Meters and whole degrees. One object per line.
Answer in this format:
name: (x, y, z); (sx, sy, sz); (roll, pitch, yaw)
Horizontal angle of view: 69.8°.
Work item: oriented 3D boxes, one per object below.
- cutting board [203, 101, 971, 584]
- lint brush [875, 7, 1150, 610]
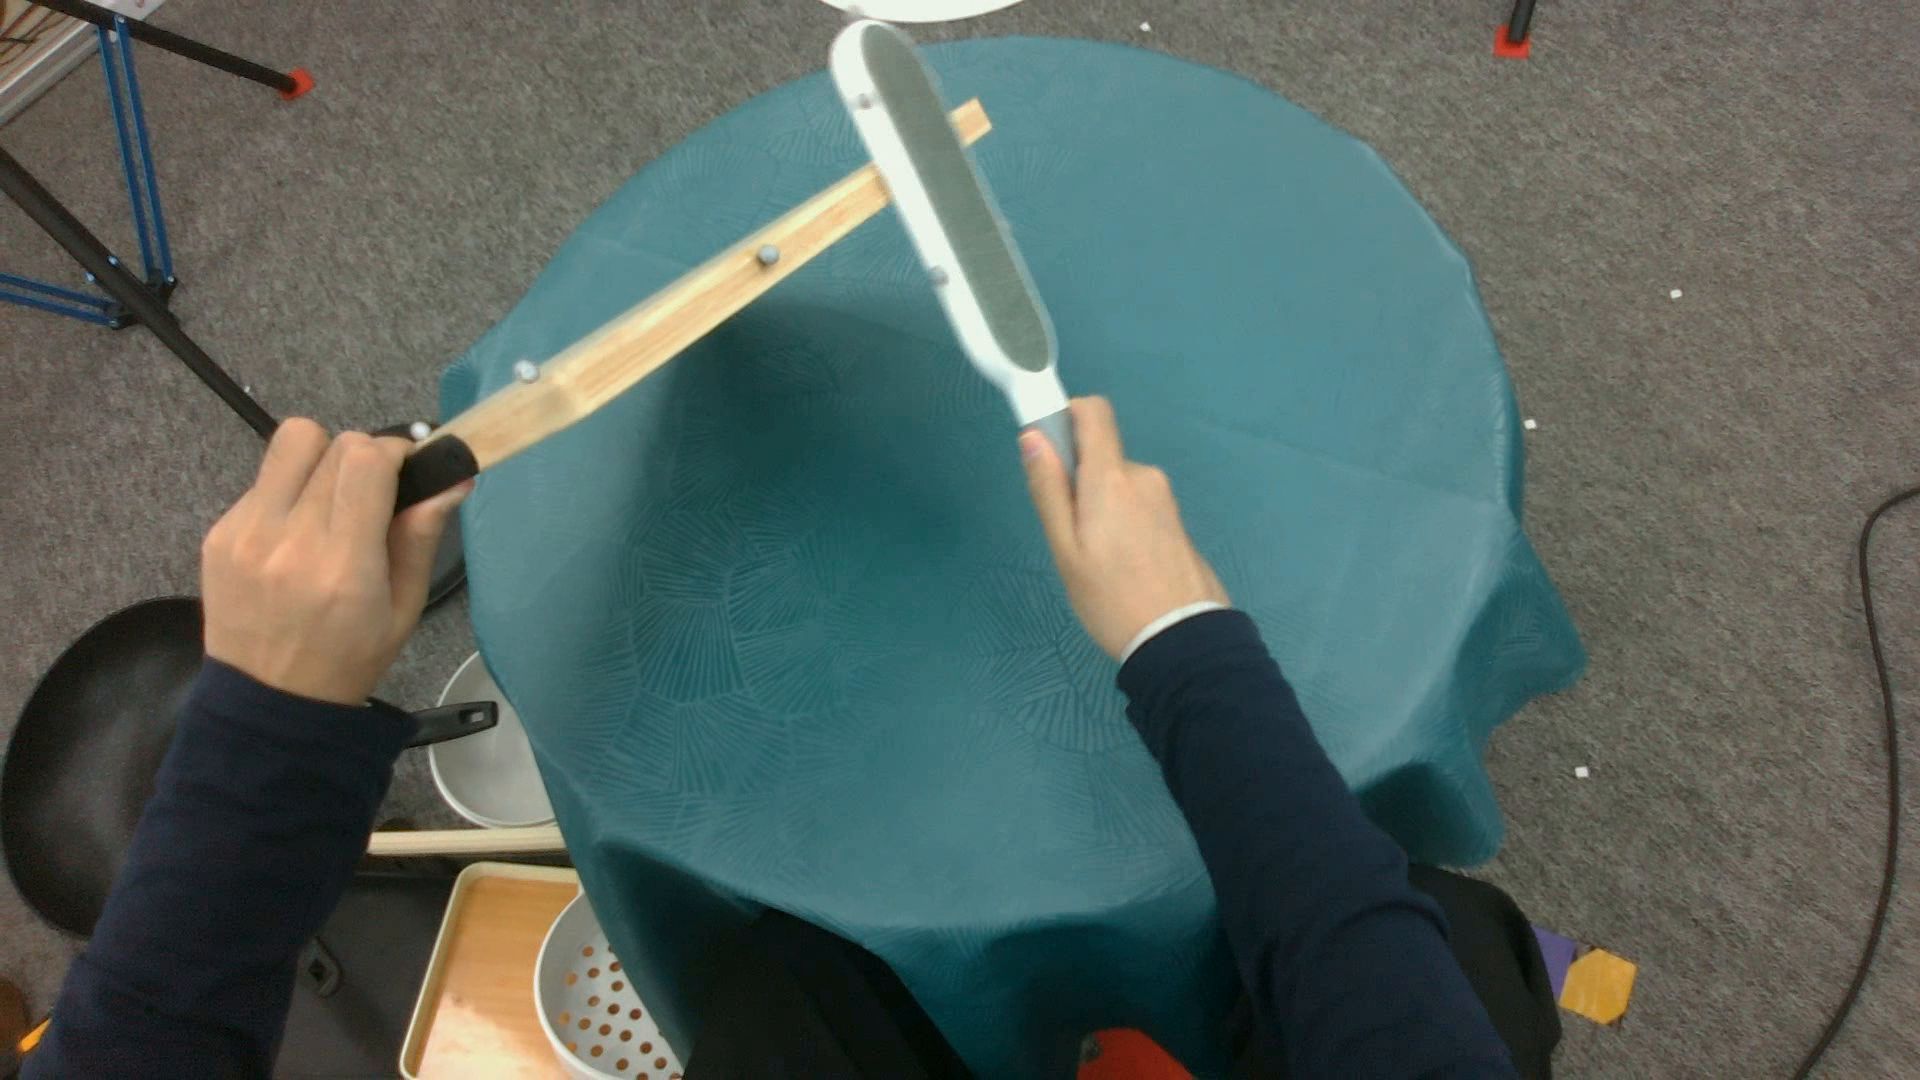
cutting board: (-0.157, -0.107, 0.652); (0.250, 0.023, 0.350); (-20, 20, 36)
lint brush: (0.026, -0.111, 0.655); (0.021, 0.060, 0.309); (-23, 86, 33)
